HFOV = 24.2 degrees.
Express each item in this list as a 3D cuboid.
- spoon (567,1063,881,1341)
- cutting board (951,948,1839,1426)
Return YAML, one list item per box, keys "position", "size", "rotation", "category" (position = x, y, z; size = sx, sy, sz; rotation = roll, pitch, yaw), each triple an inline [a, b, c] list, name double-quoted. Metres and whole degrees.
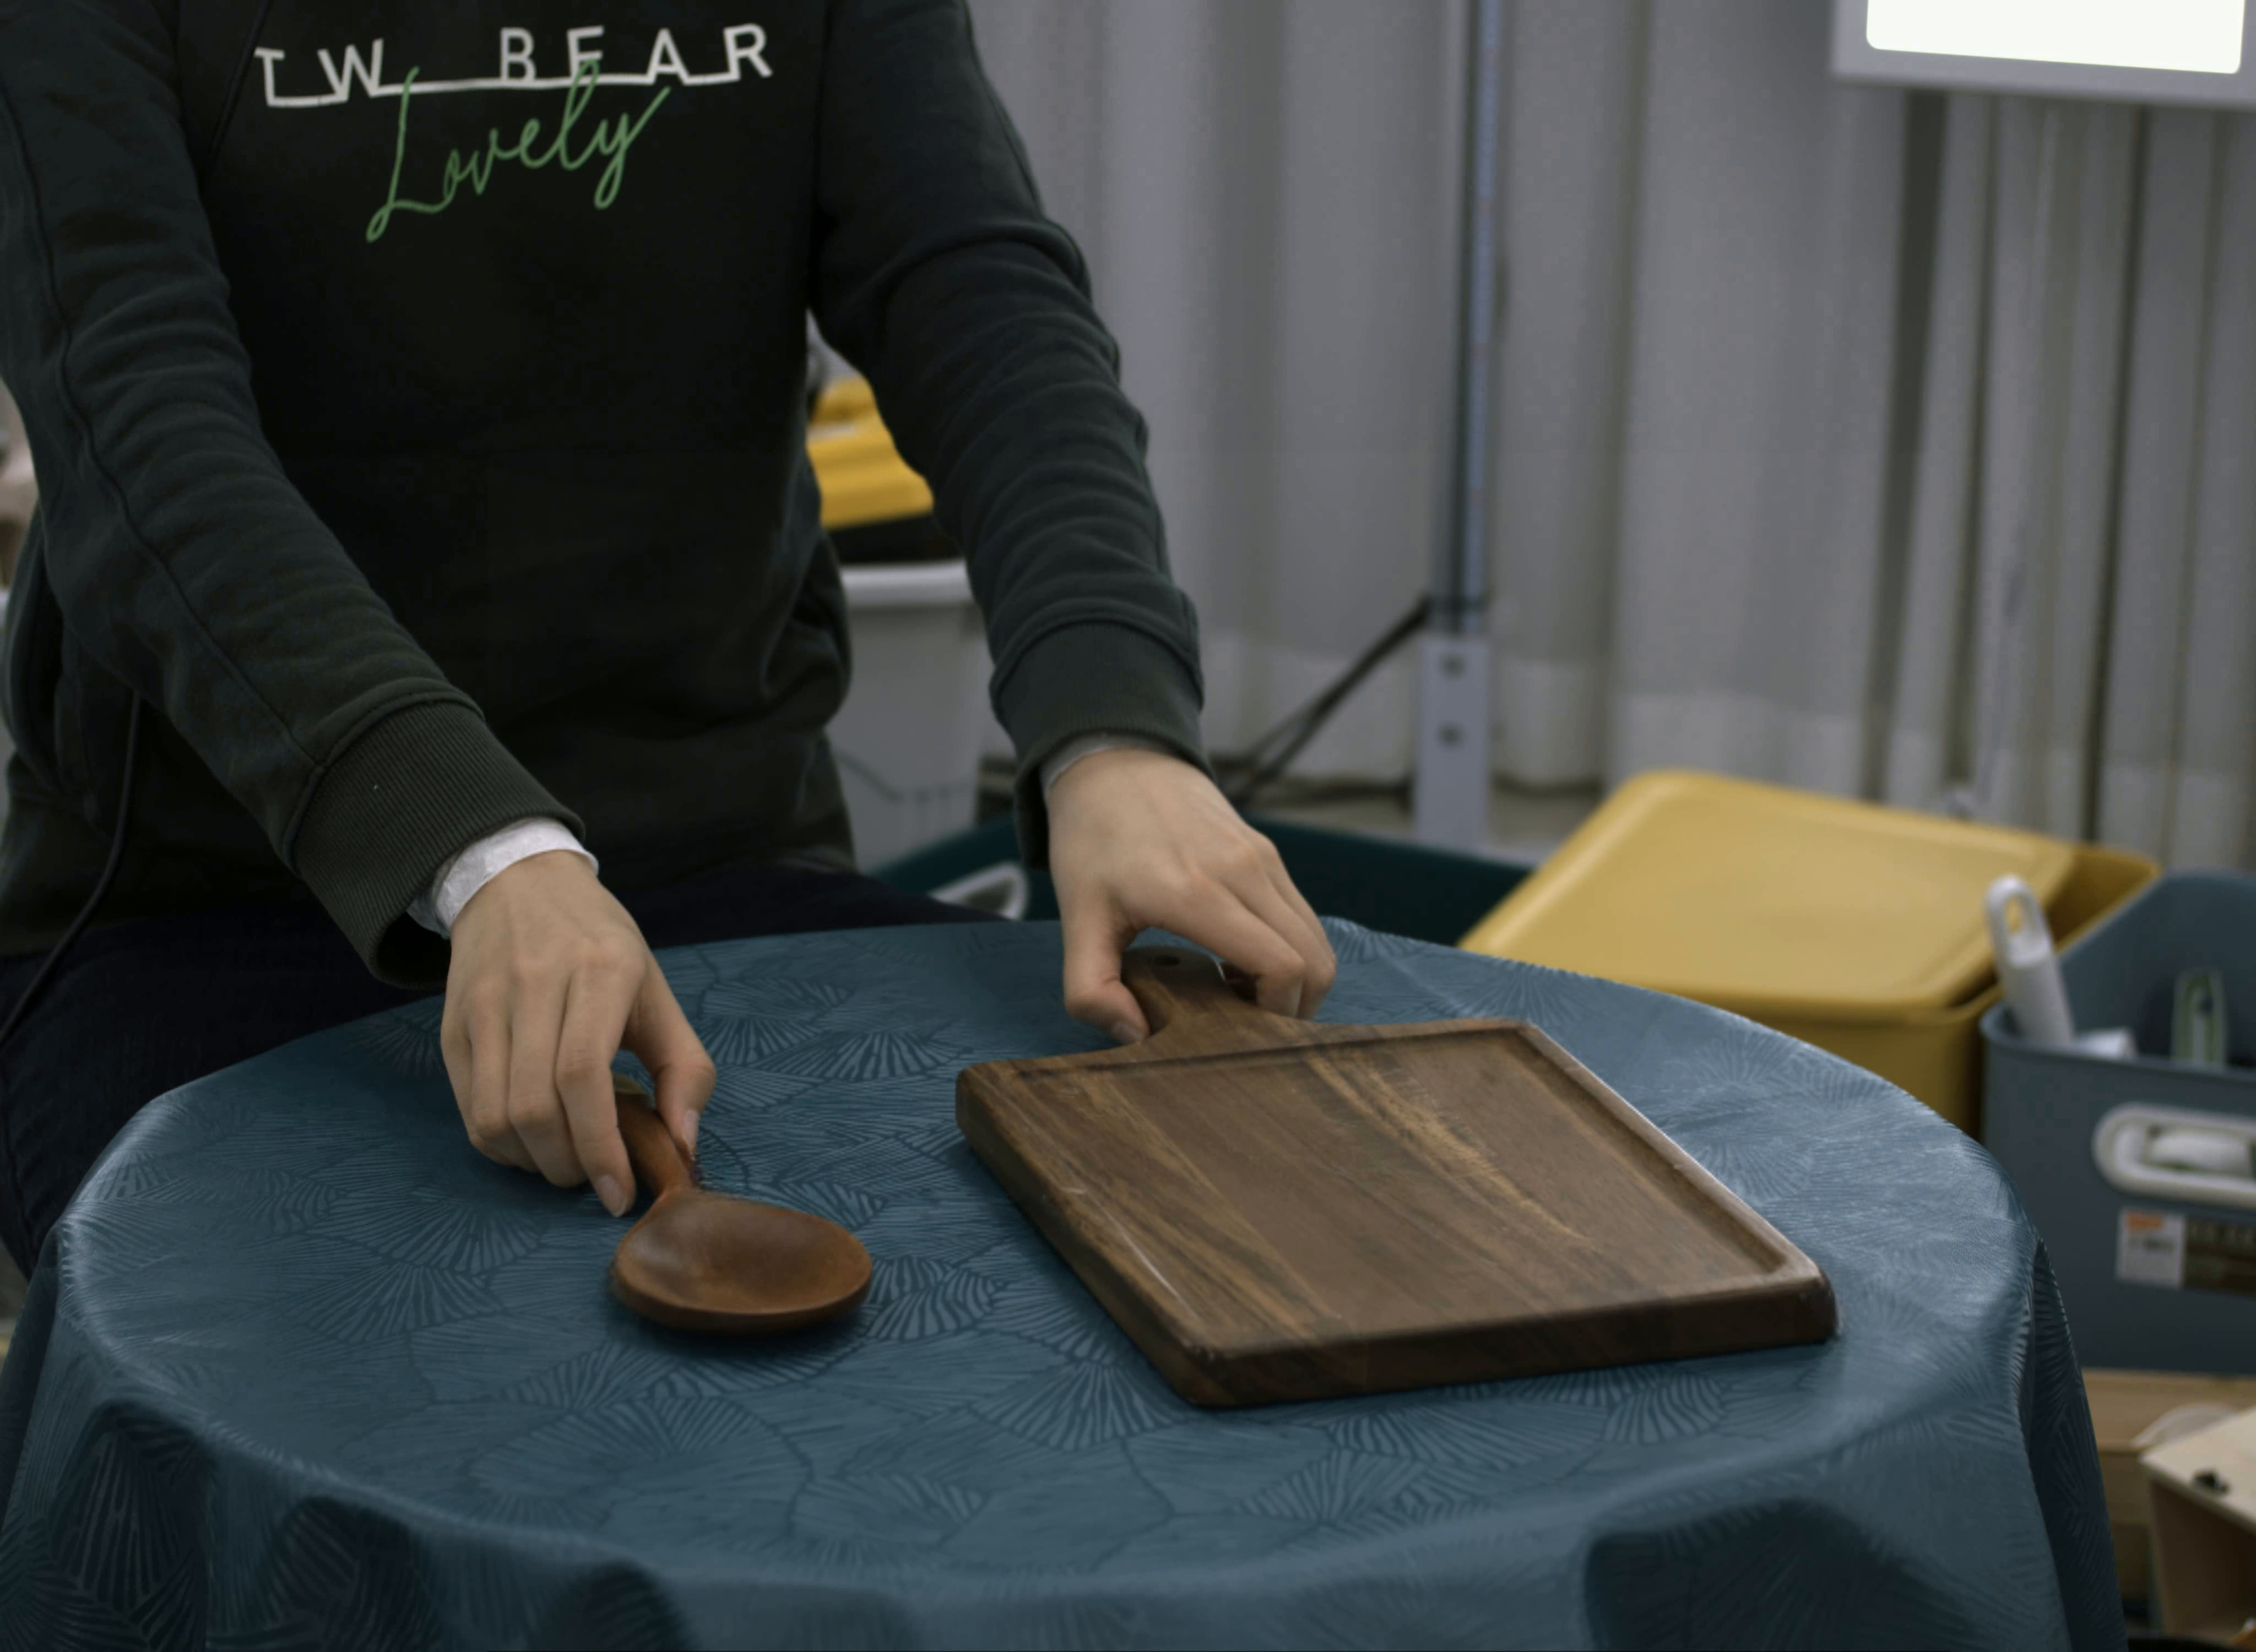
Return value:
- position: [-0.131, 0.113, 1.579]
  size: [0.075, 0.017, 0.213]
  rotation: [-8, 20, -19]
  category: "spoon"
- position: [0.059, 0.100, 1.631]
  size: [0.201, 0.023, 0.348]
  rotation: [-5, 18, -17]
  category: "cutting board"
